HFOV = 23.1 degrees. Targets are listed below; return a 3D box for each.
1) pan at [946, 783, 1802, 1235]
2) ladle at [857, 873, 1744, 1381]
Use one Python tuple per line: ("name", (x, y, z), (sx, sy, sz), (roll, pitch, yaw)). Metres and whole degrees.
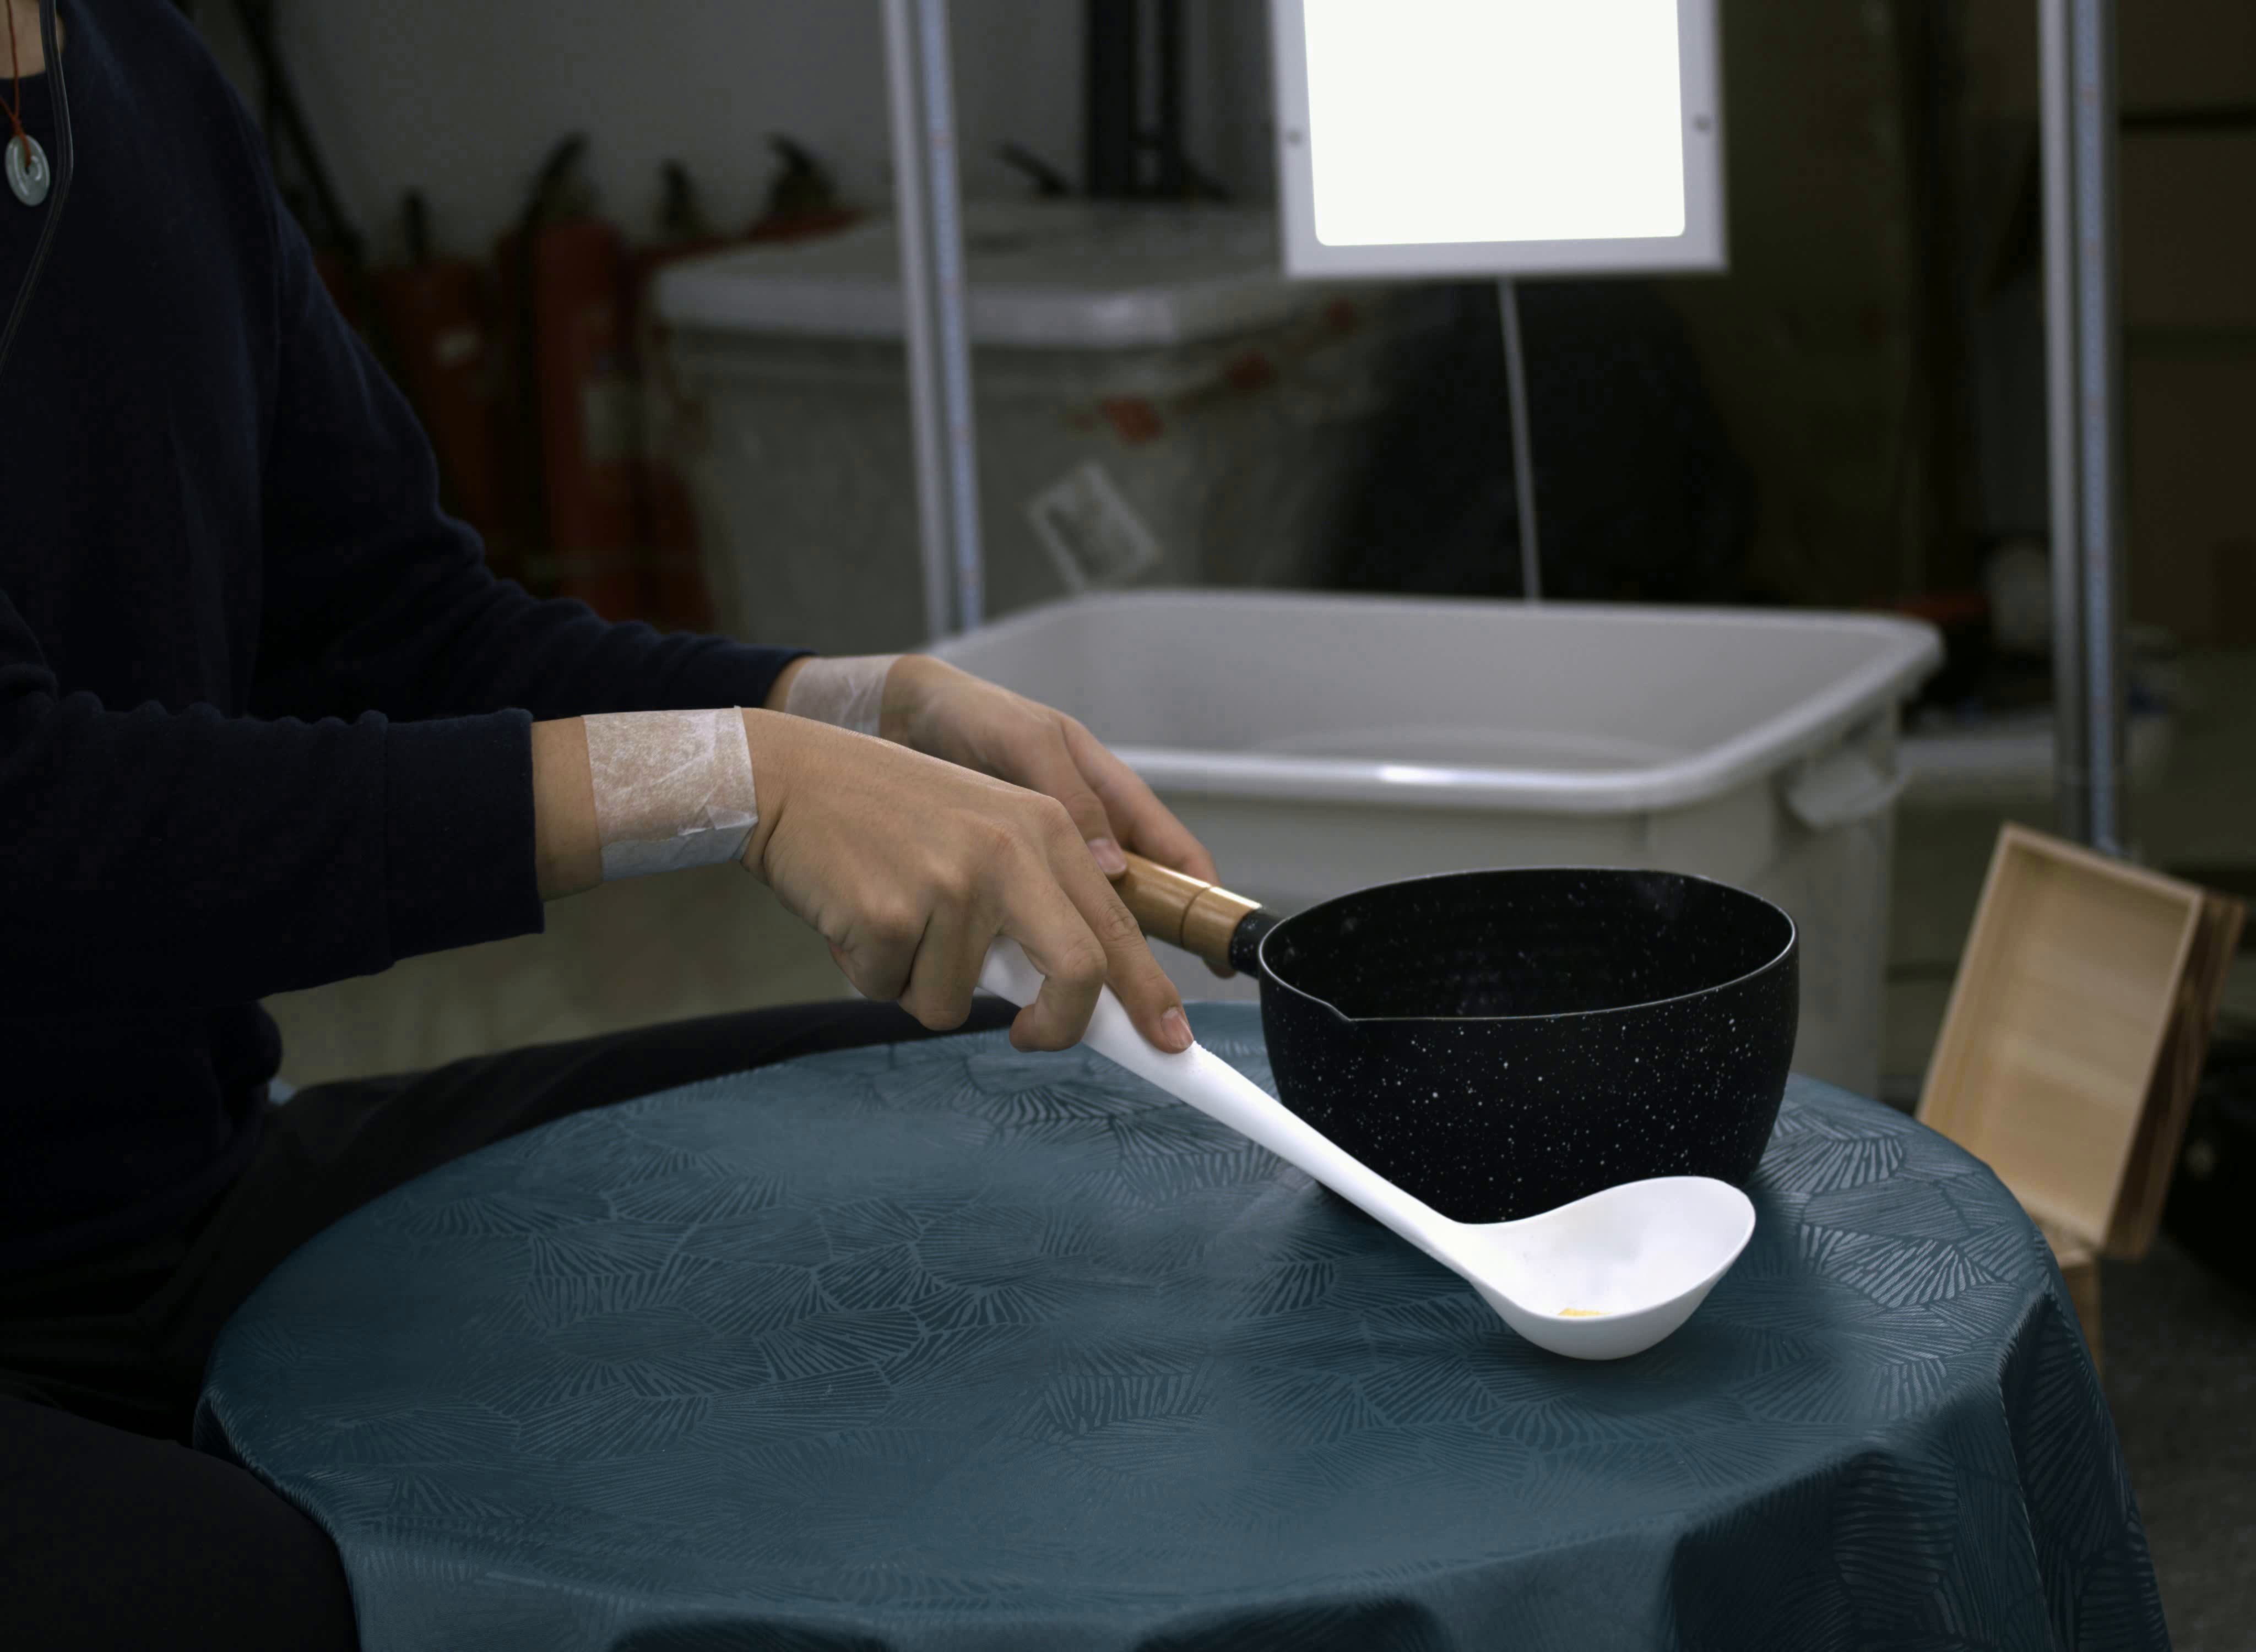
("pan", (0.074, 0.058, 1.913), (0.350, 0.108, 0.202), (9, 20, 37))
("ladle", (0.049, 0.085, 1.709), (0.295, 0.071, 0.088), (30, 44, 14))
